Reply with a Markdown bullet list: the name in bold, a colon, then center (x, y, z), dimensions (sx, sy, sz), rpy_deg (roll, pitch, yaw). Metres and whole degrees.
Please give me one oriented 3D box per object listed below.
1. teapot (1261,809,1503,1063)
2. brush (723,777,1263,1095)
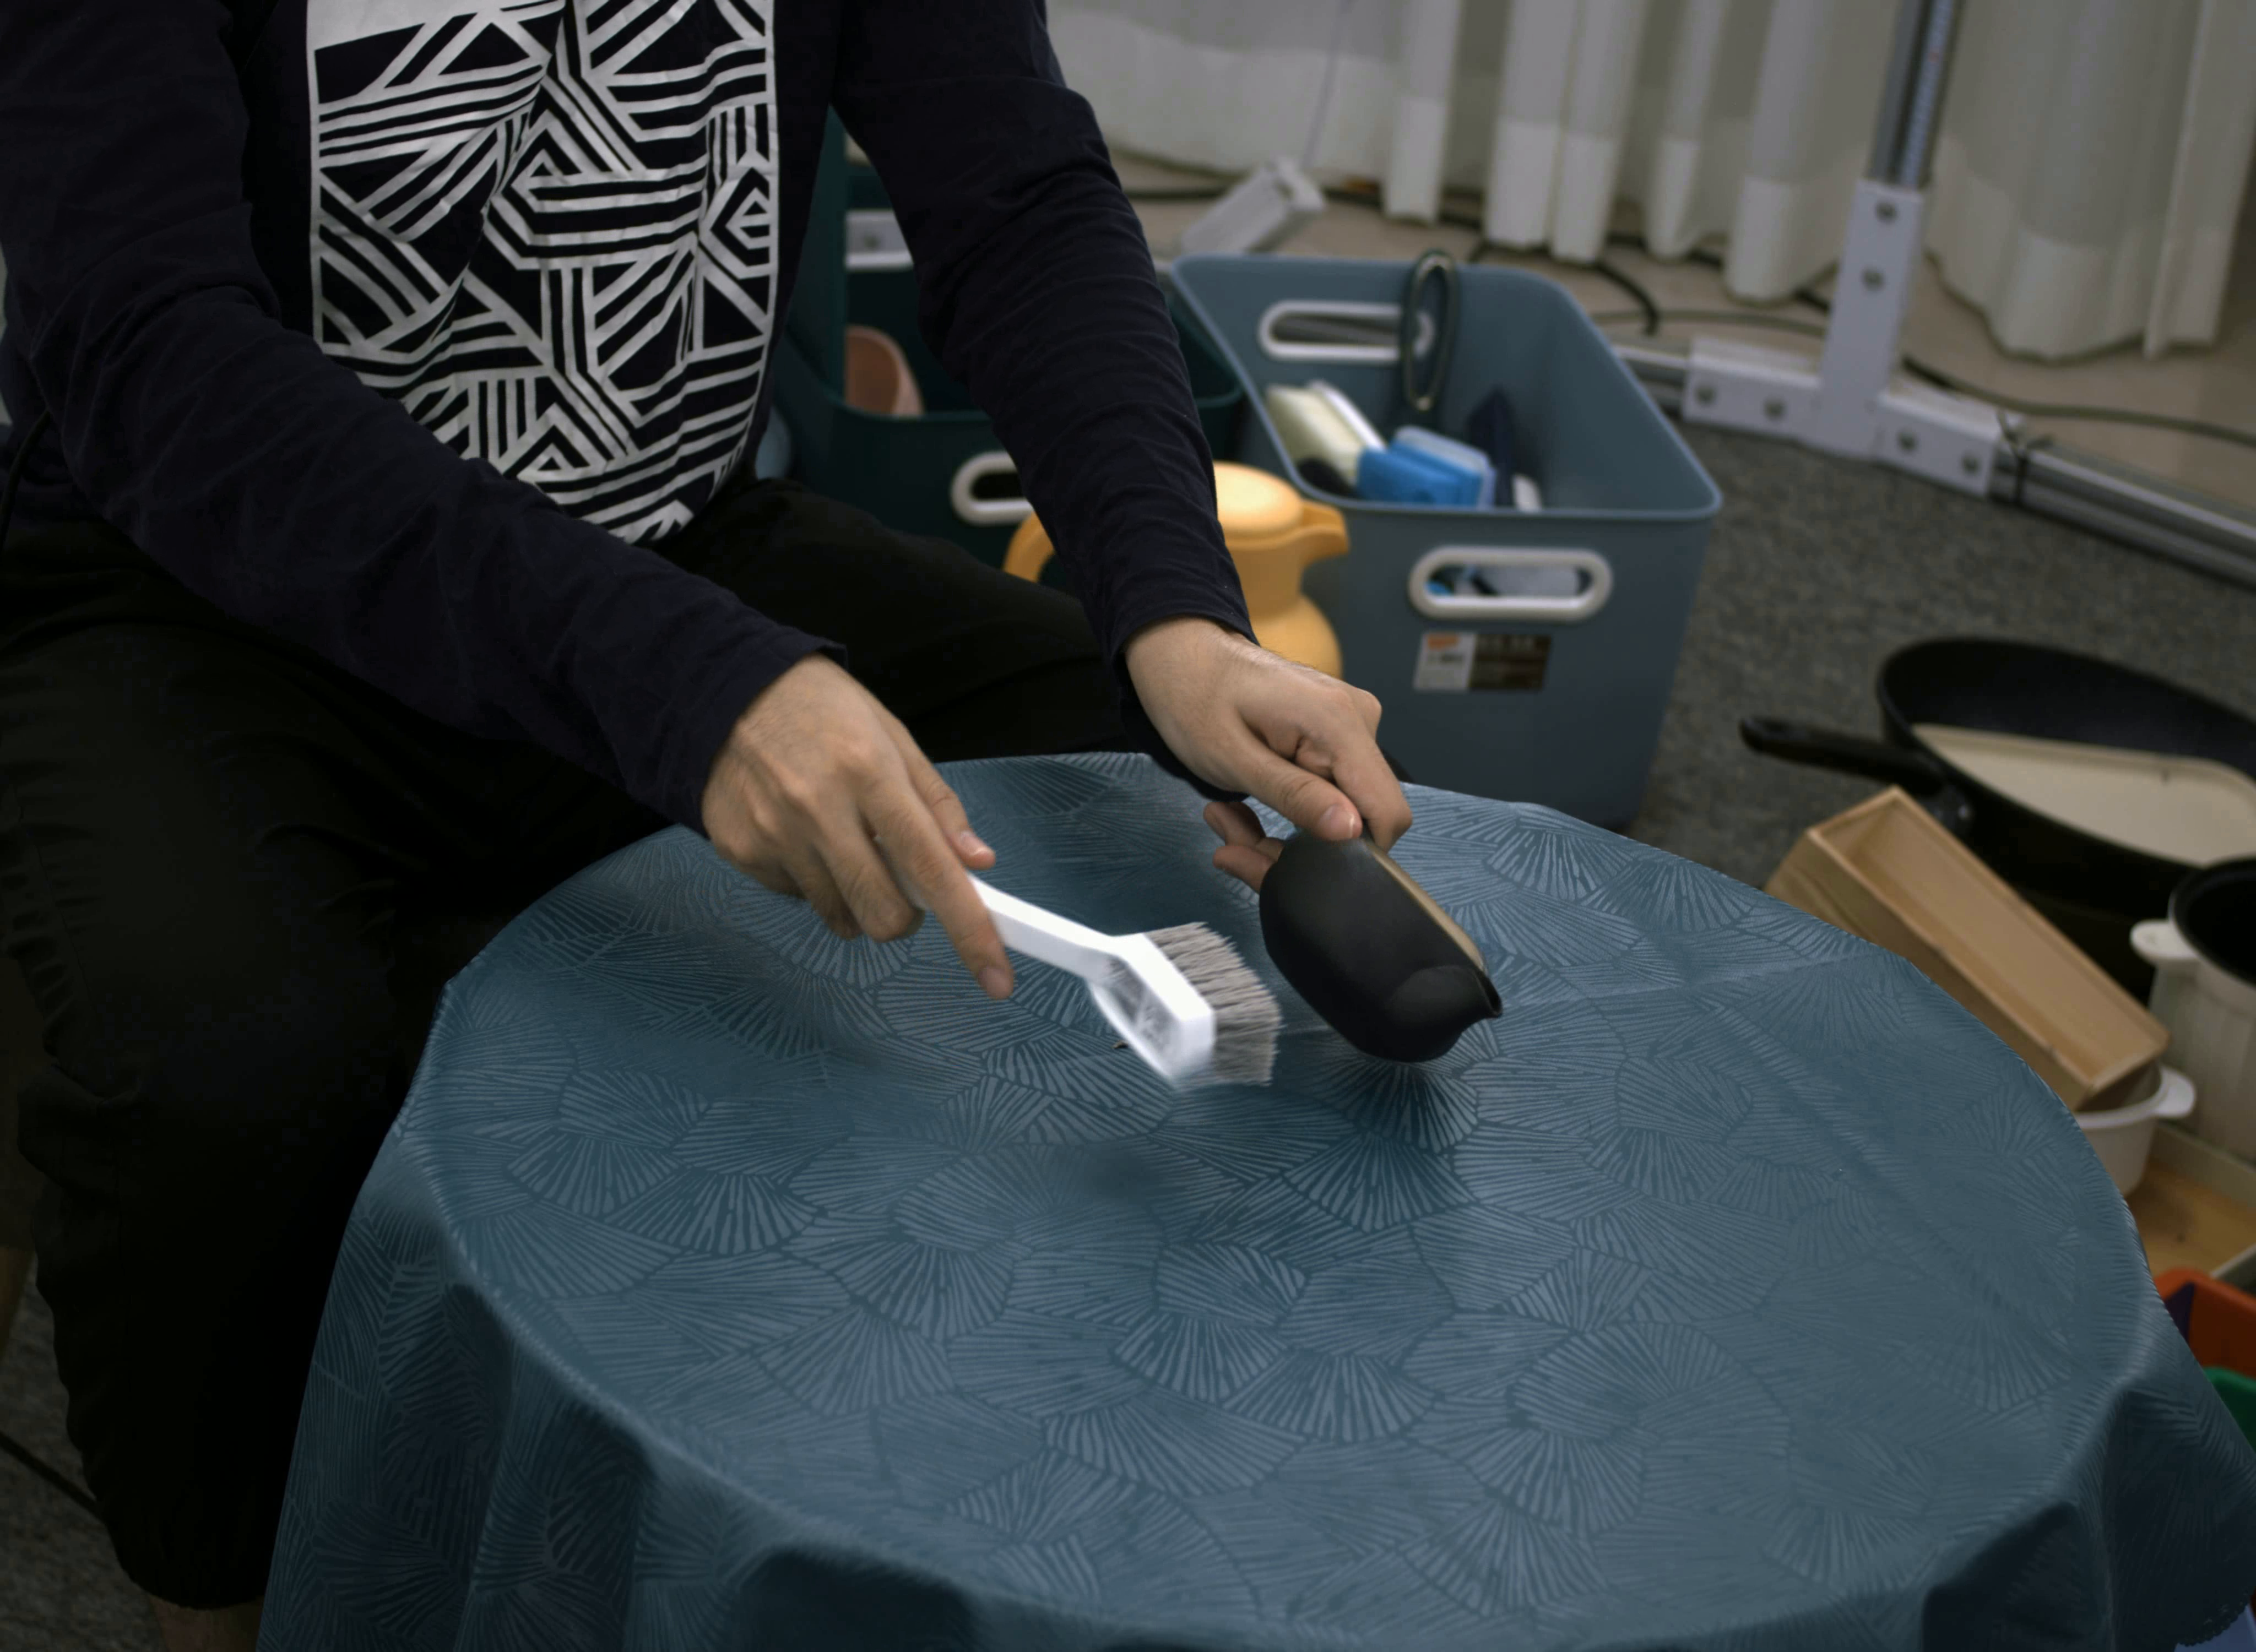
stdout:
- **teapot**: center (0.086, 0.043, 1.887), dimensions (0.090, 0.053, 0.134), rpy_deg (40, 10, -42)
- **brush**: center (-0.046, 0.029, 1.851), dimensions (0.050, 0.034, 0.245), rpy_deg (-26, 40, -38)
